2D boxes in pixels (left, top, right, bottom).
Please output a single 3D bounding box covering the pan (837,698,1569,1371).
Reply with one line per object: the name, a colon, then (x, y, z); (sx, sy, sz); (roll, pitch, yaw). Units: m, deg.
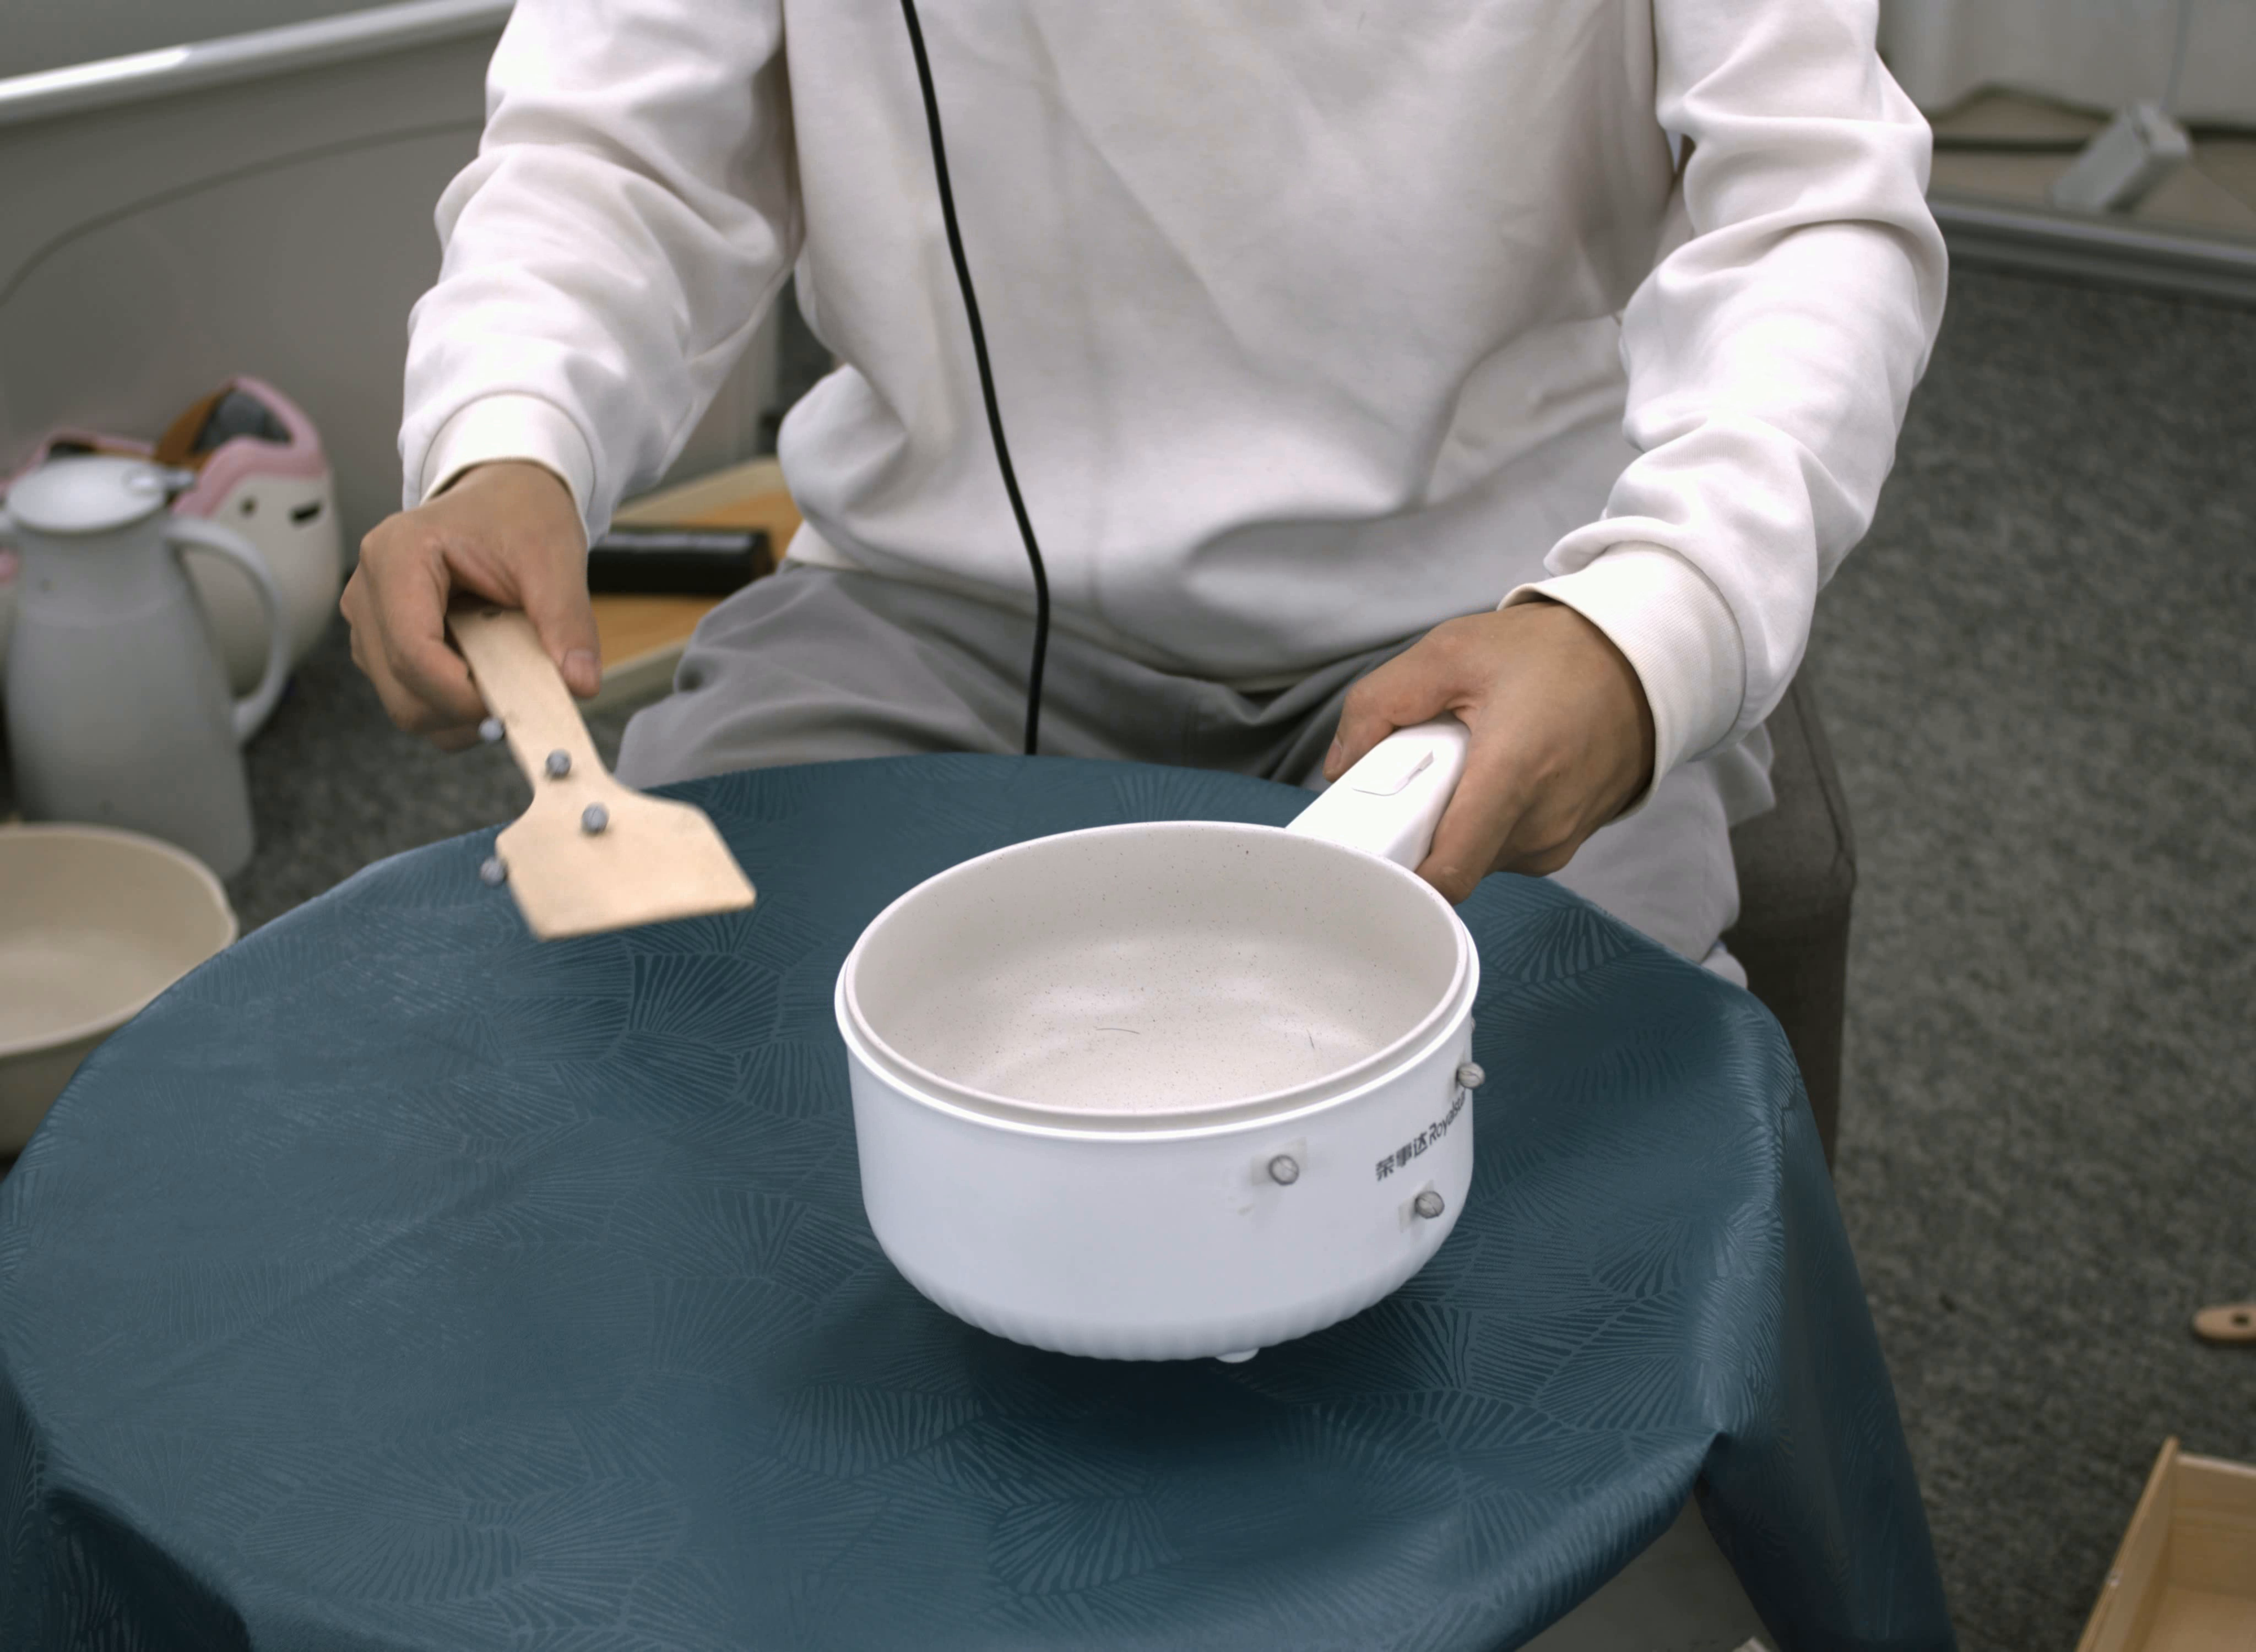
pan: (0.050, 0.065, 1.832); (0.200, 0.101, 0.360); (7, 25, 29)
